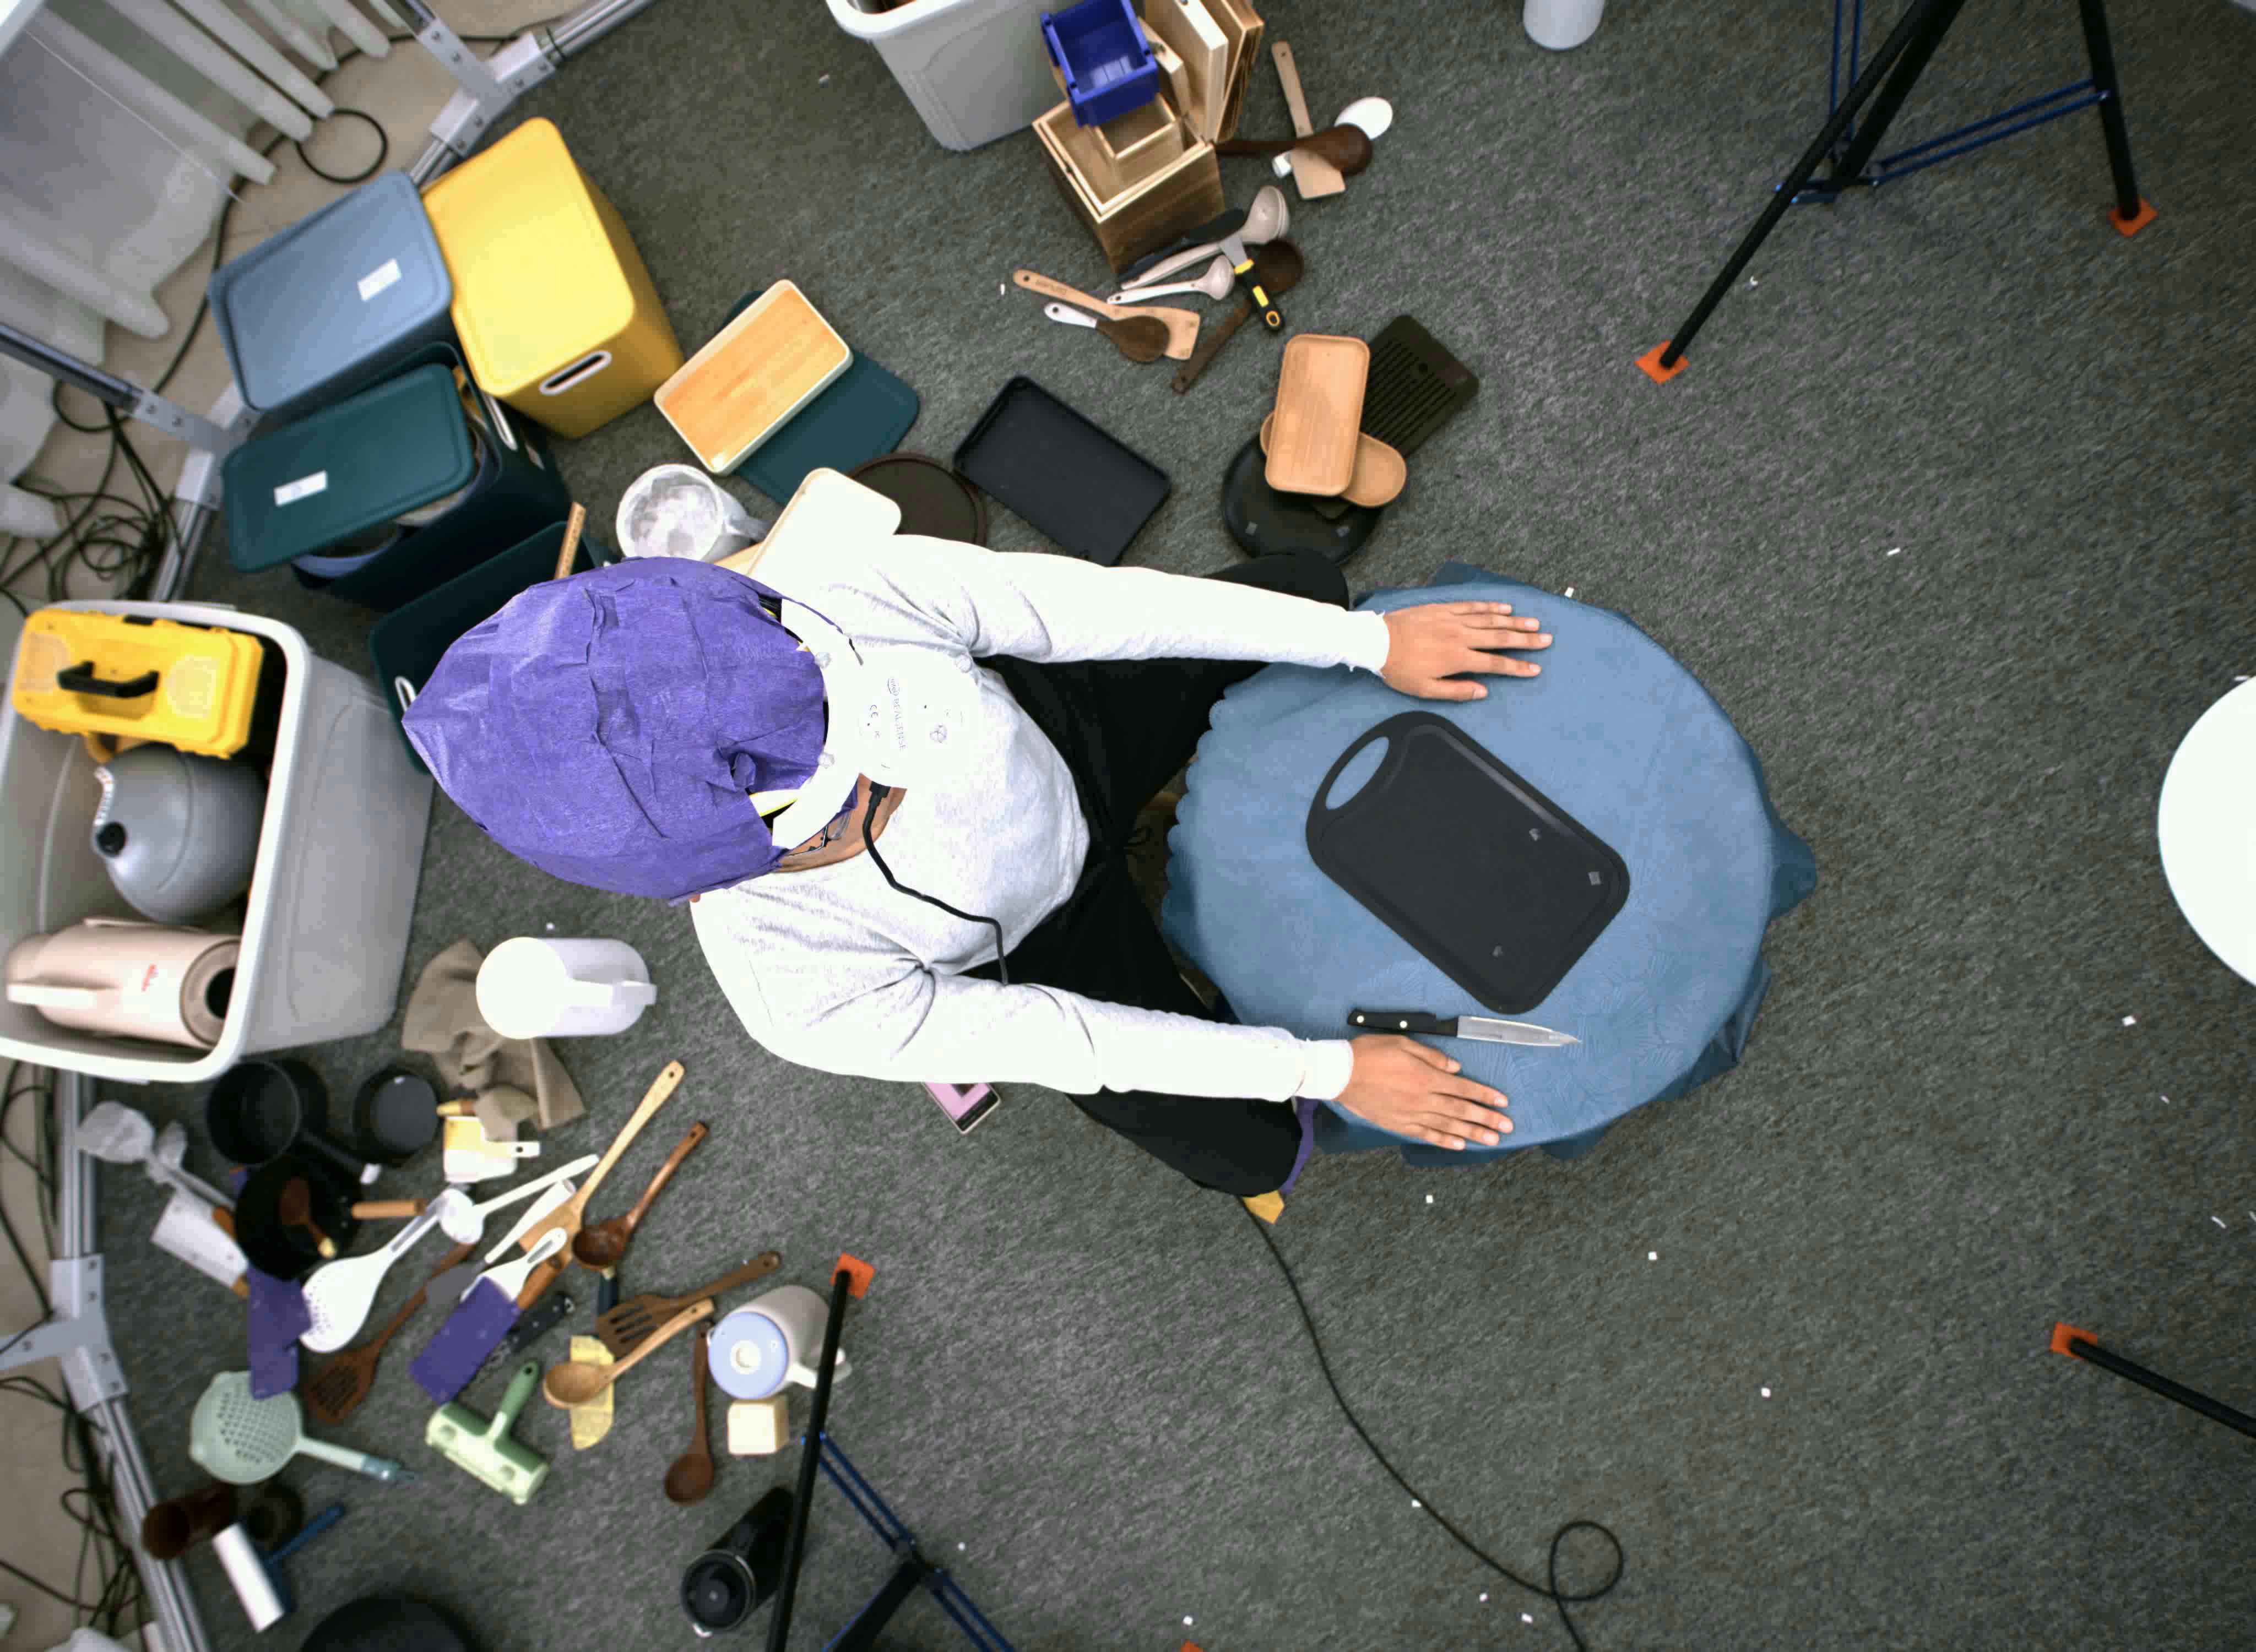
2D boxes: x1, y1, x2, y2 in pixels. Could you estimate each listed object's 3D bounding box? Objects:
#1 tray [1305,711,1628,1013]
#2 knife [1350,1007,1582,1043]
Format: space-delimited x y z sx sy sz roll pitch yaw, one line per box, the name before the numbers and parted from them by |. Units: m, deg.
tray | 0.346 0.028 1.445 0.324 0.010 0.212 41 94 10
knife | 0.350 0.207 1.432 0.239 0.016 0.024 4 89 8
